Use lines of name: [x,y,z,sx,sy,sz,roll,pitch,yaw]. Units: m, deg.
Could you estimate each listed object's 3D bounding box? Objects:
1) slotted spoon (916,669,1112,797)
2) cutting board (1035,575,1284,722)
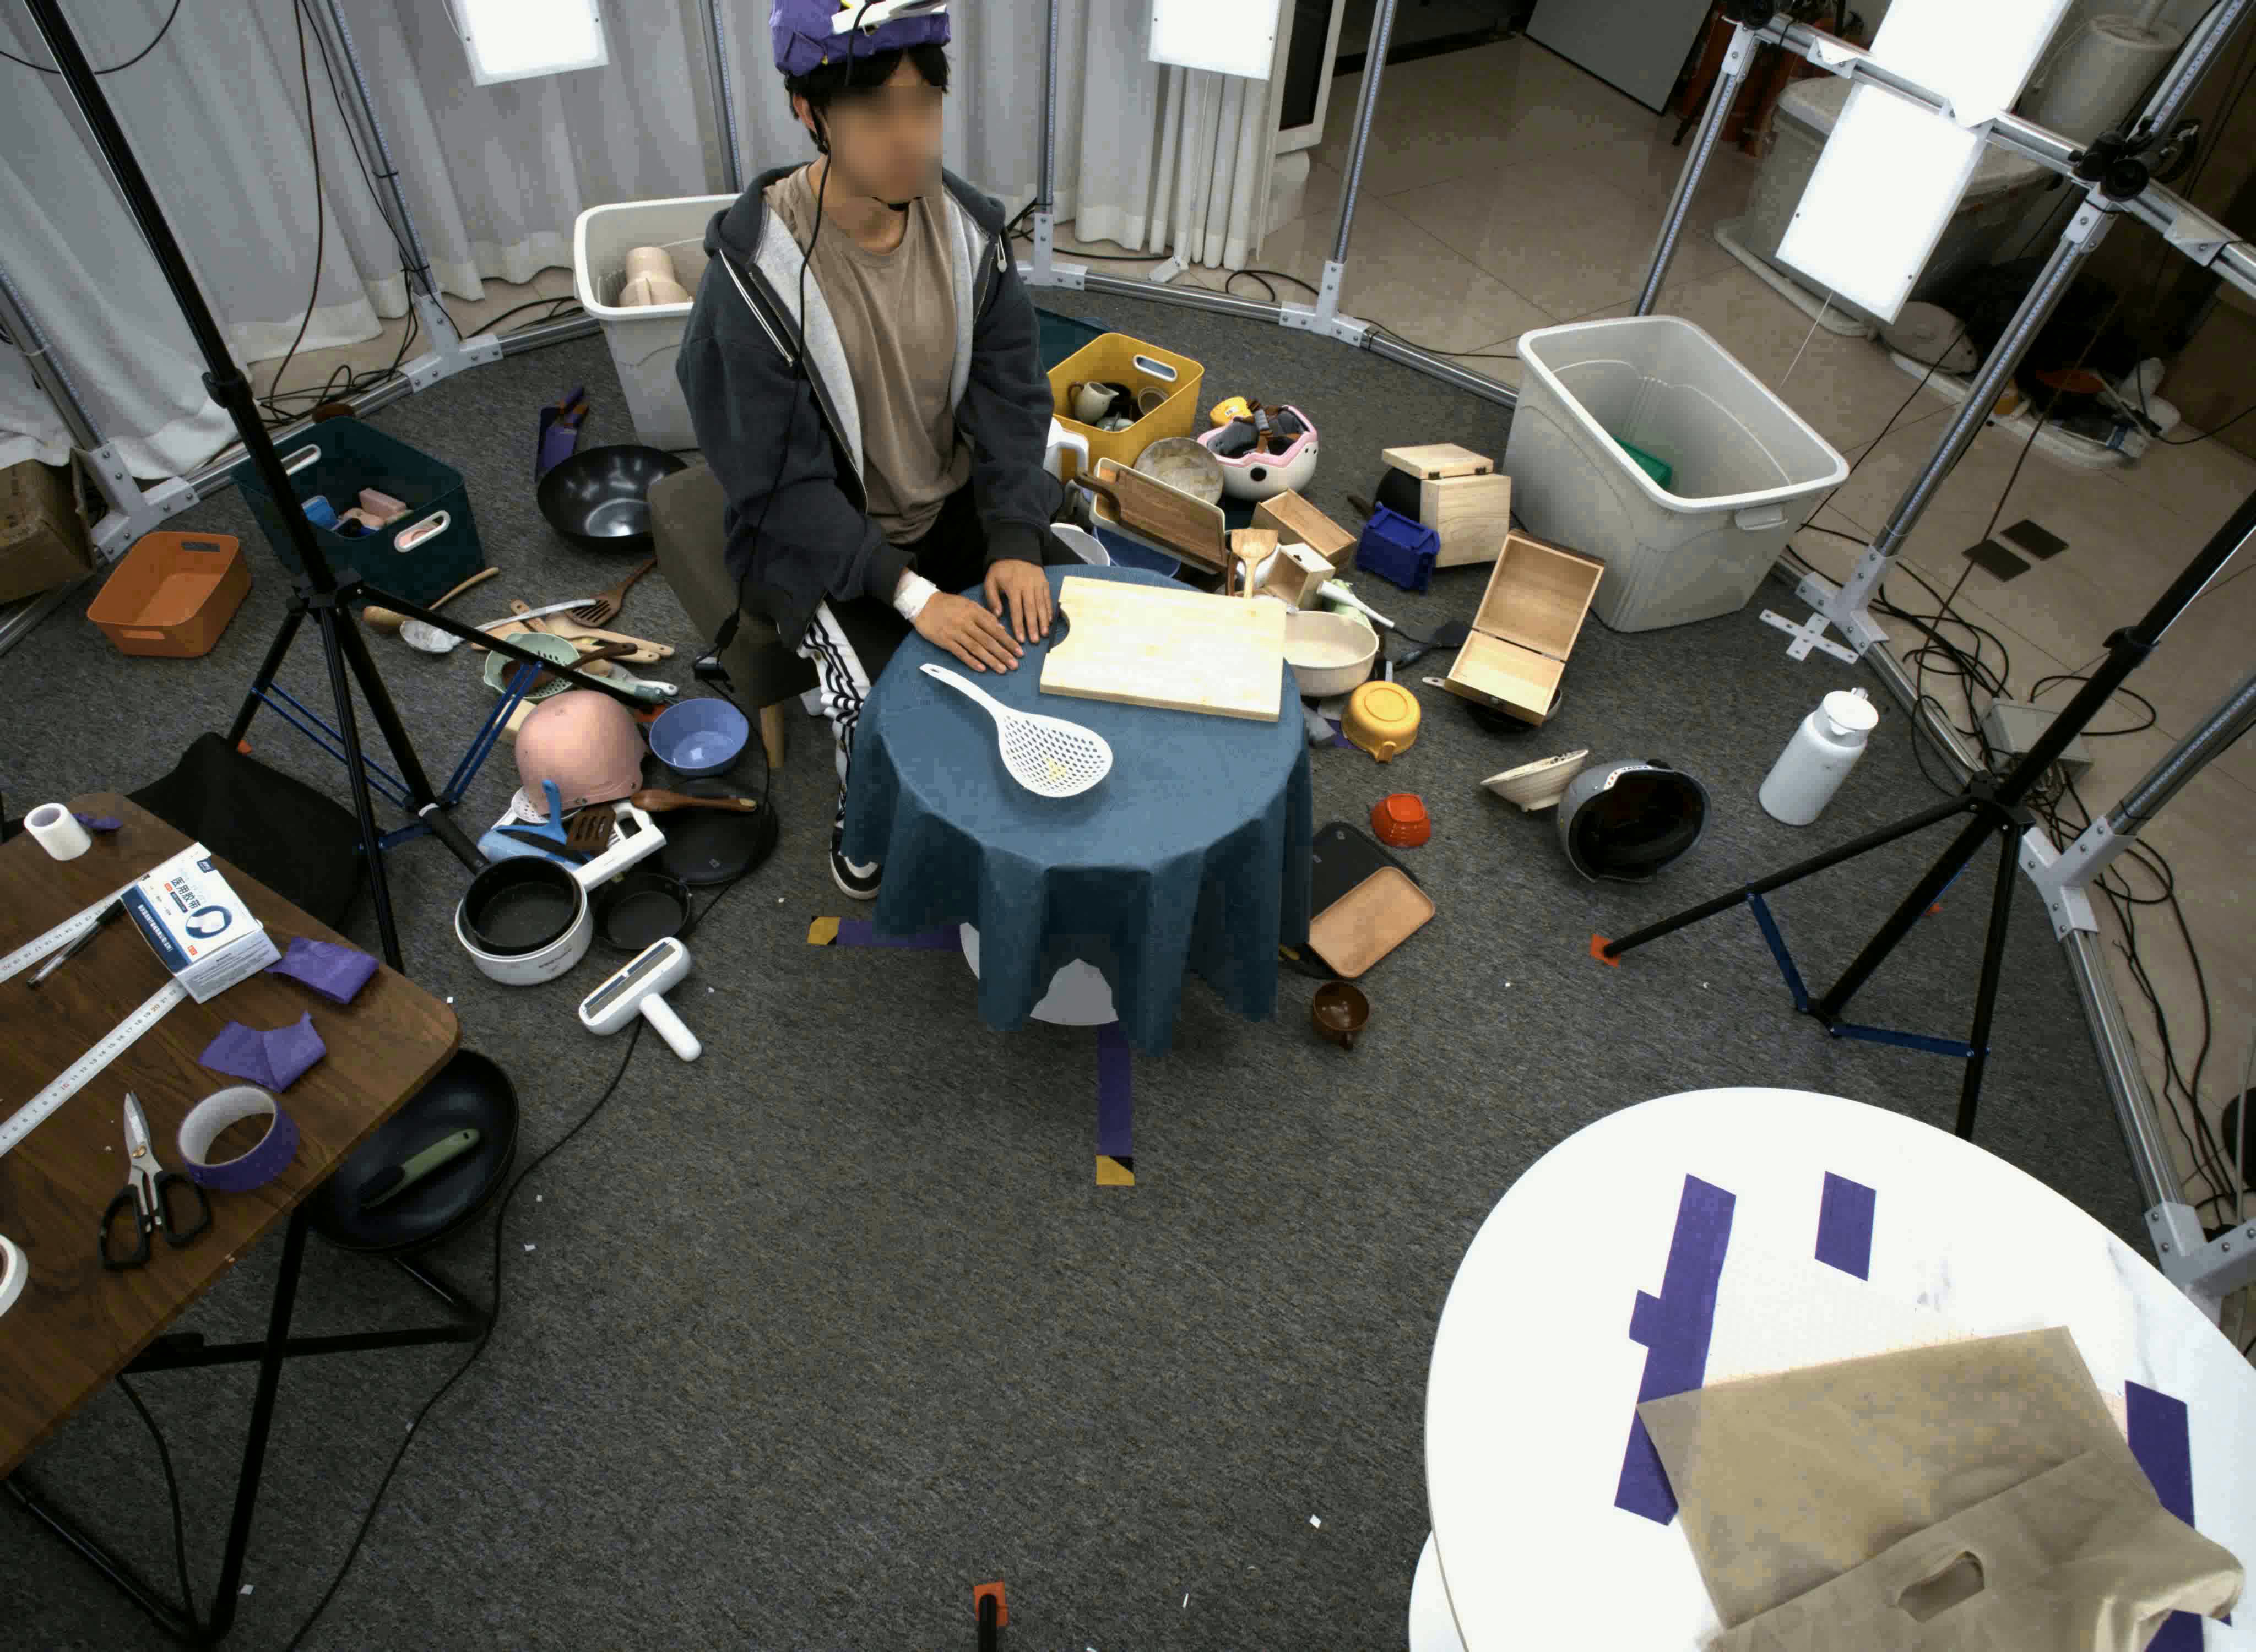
slotted spoon: [-0.169,-0.142,1.751,0.138,0.049,0.353,-37,60,-27]
cutting board: [0.053,-0.265,1.890,0.348,0.023,0.257,7,48,2]
